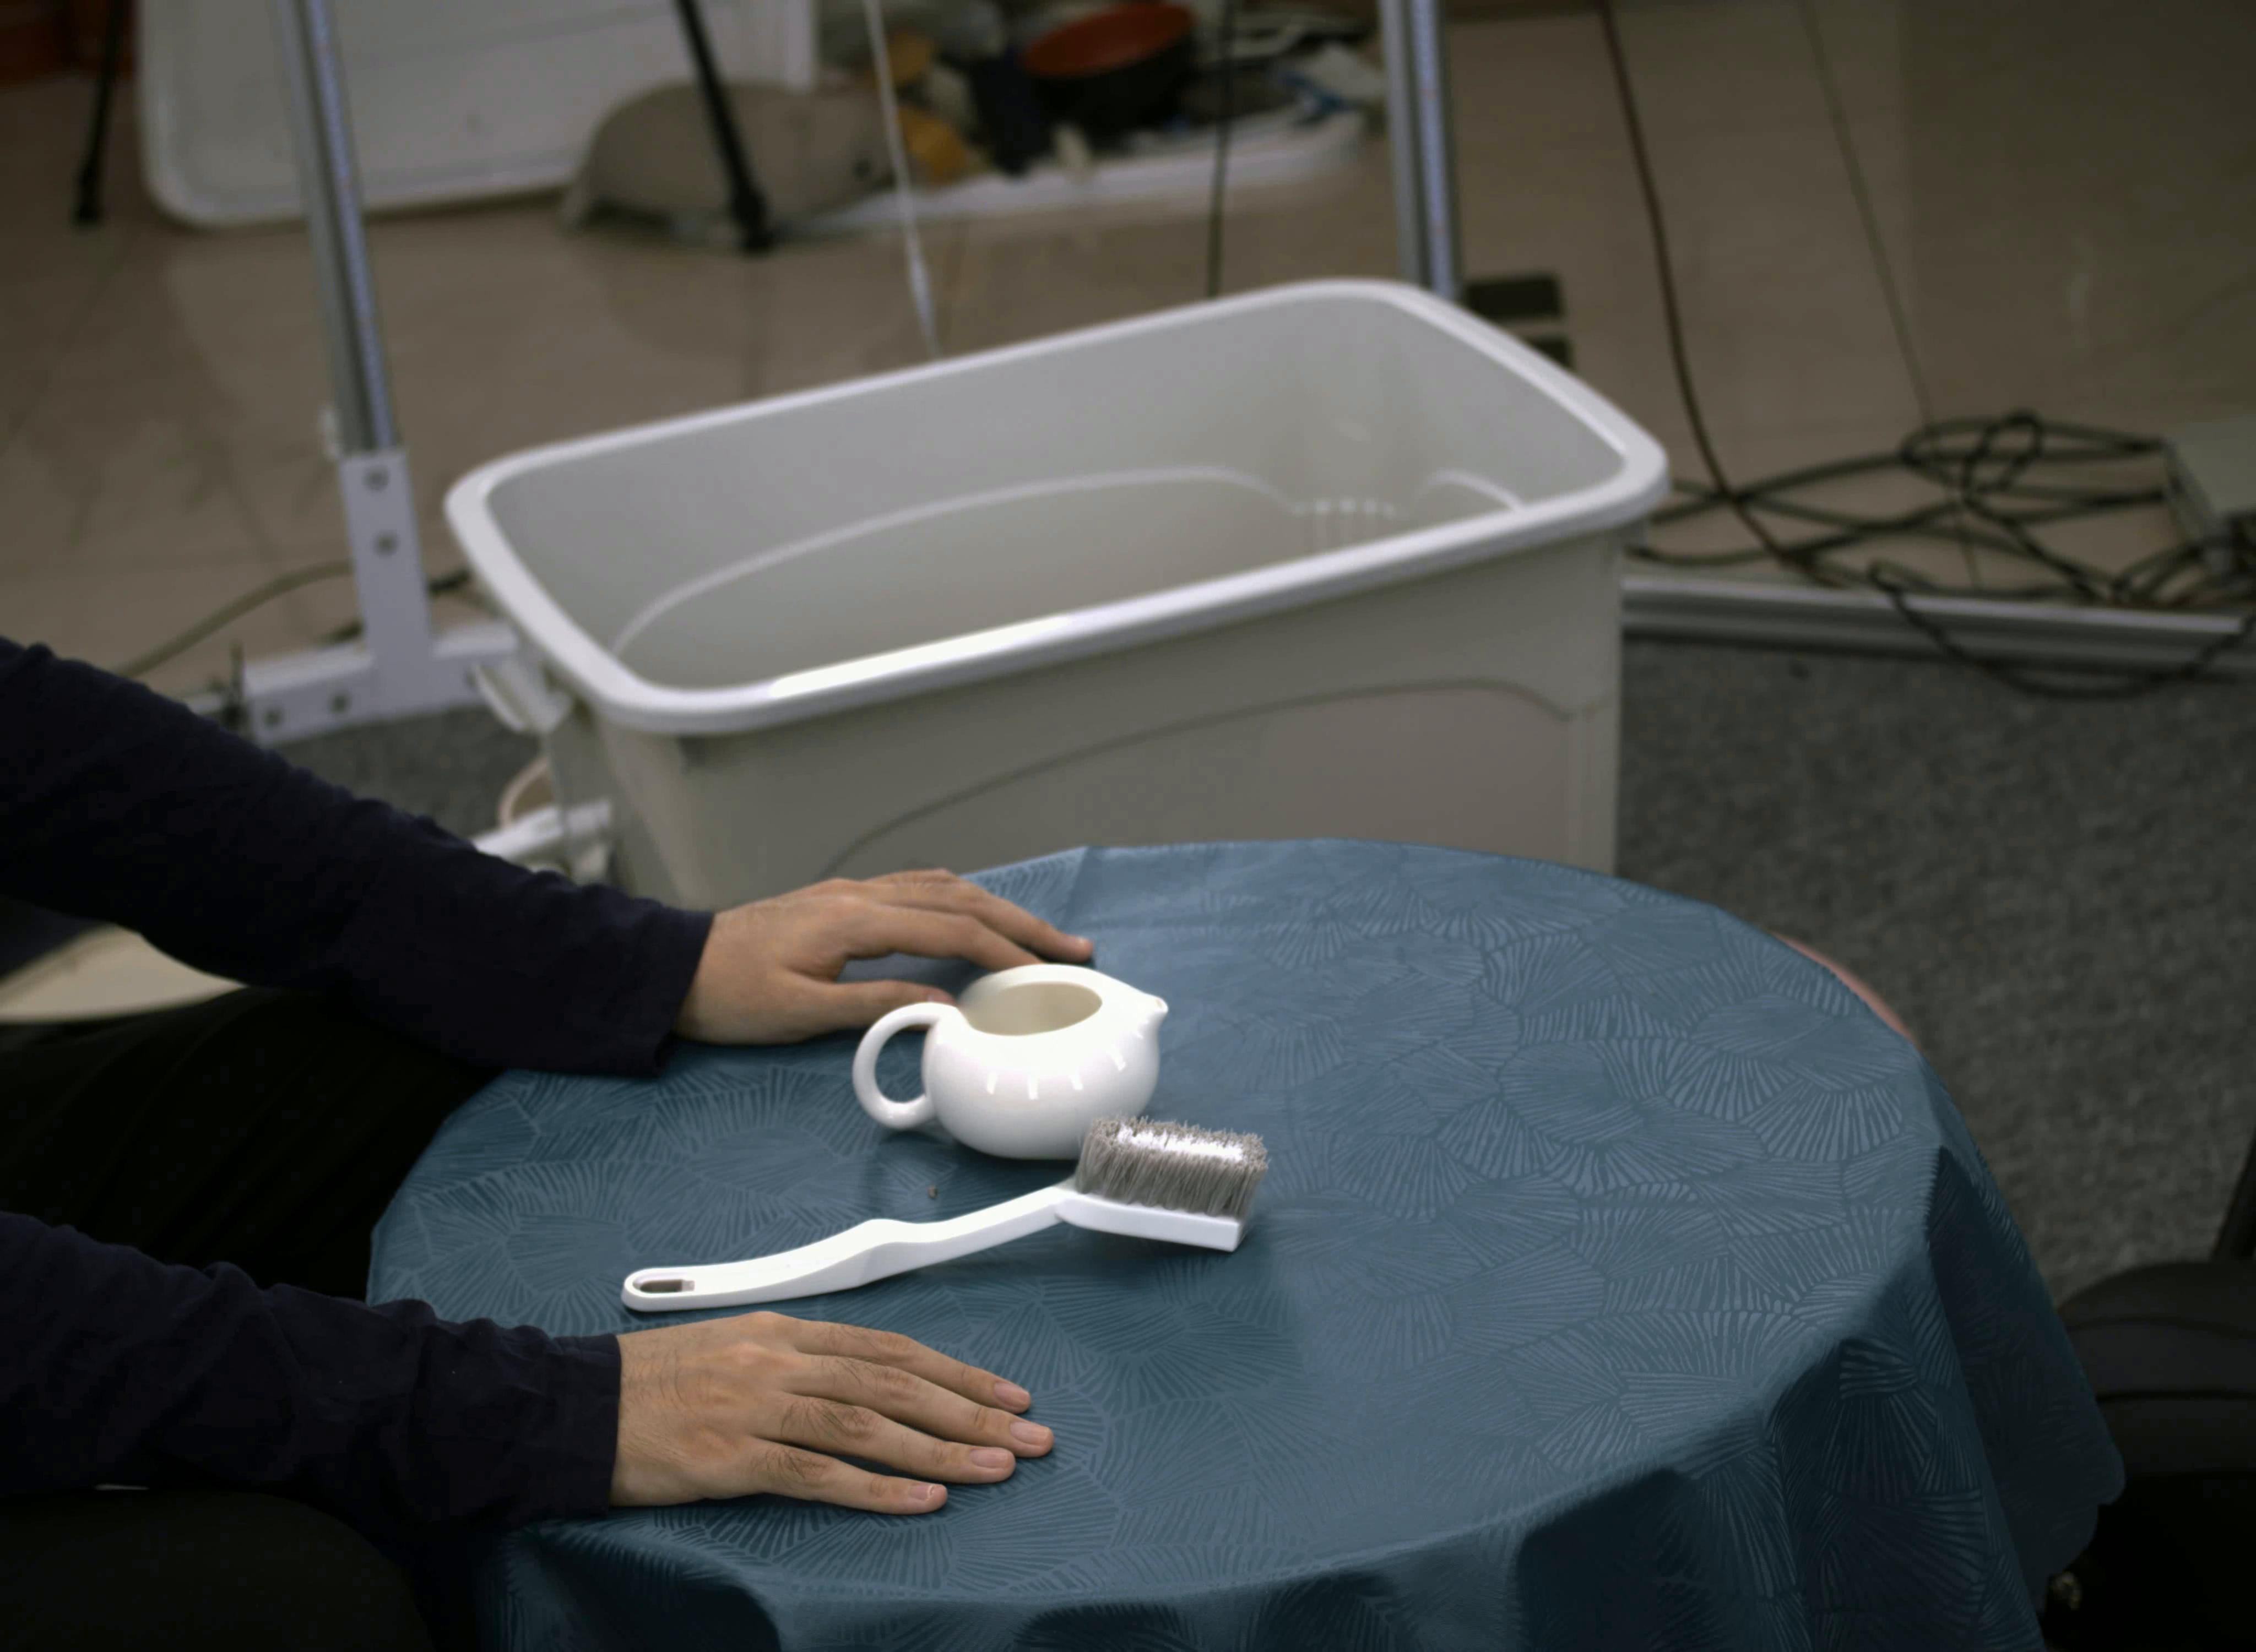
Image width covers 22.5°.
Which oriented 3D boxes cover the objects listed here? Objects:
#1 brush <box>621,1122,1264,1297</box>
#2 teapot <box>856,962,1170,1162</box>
[{"bbox_3d":[-0.070,0.142,2.102,0.243,0.051,0.034,-5,30,3],"label":"brush"},{"bbox_3d":[-0.043,0.093,2.195,0.127,0.057,0.092,-6,30,7],"label":"teapot"}]
